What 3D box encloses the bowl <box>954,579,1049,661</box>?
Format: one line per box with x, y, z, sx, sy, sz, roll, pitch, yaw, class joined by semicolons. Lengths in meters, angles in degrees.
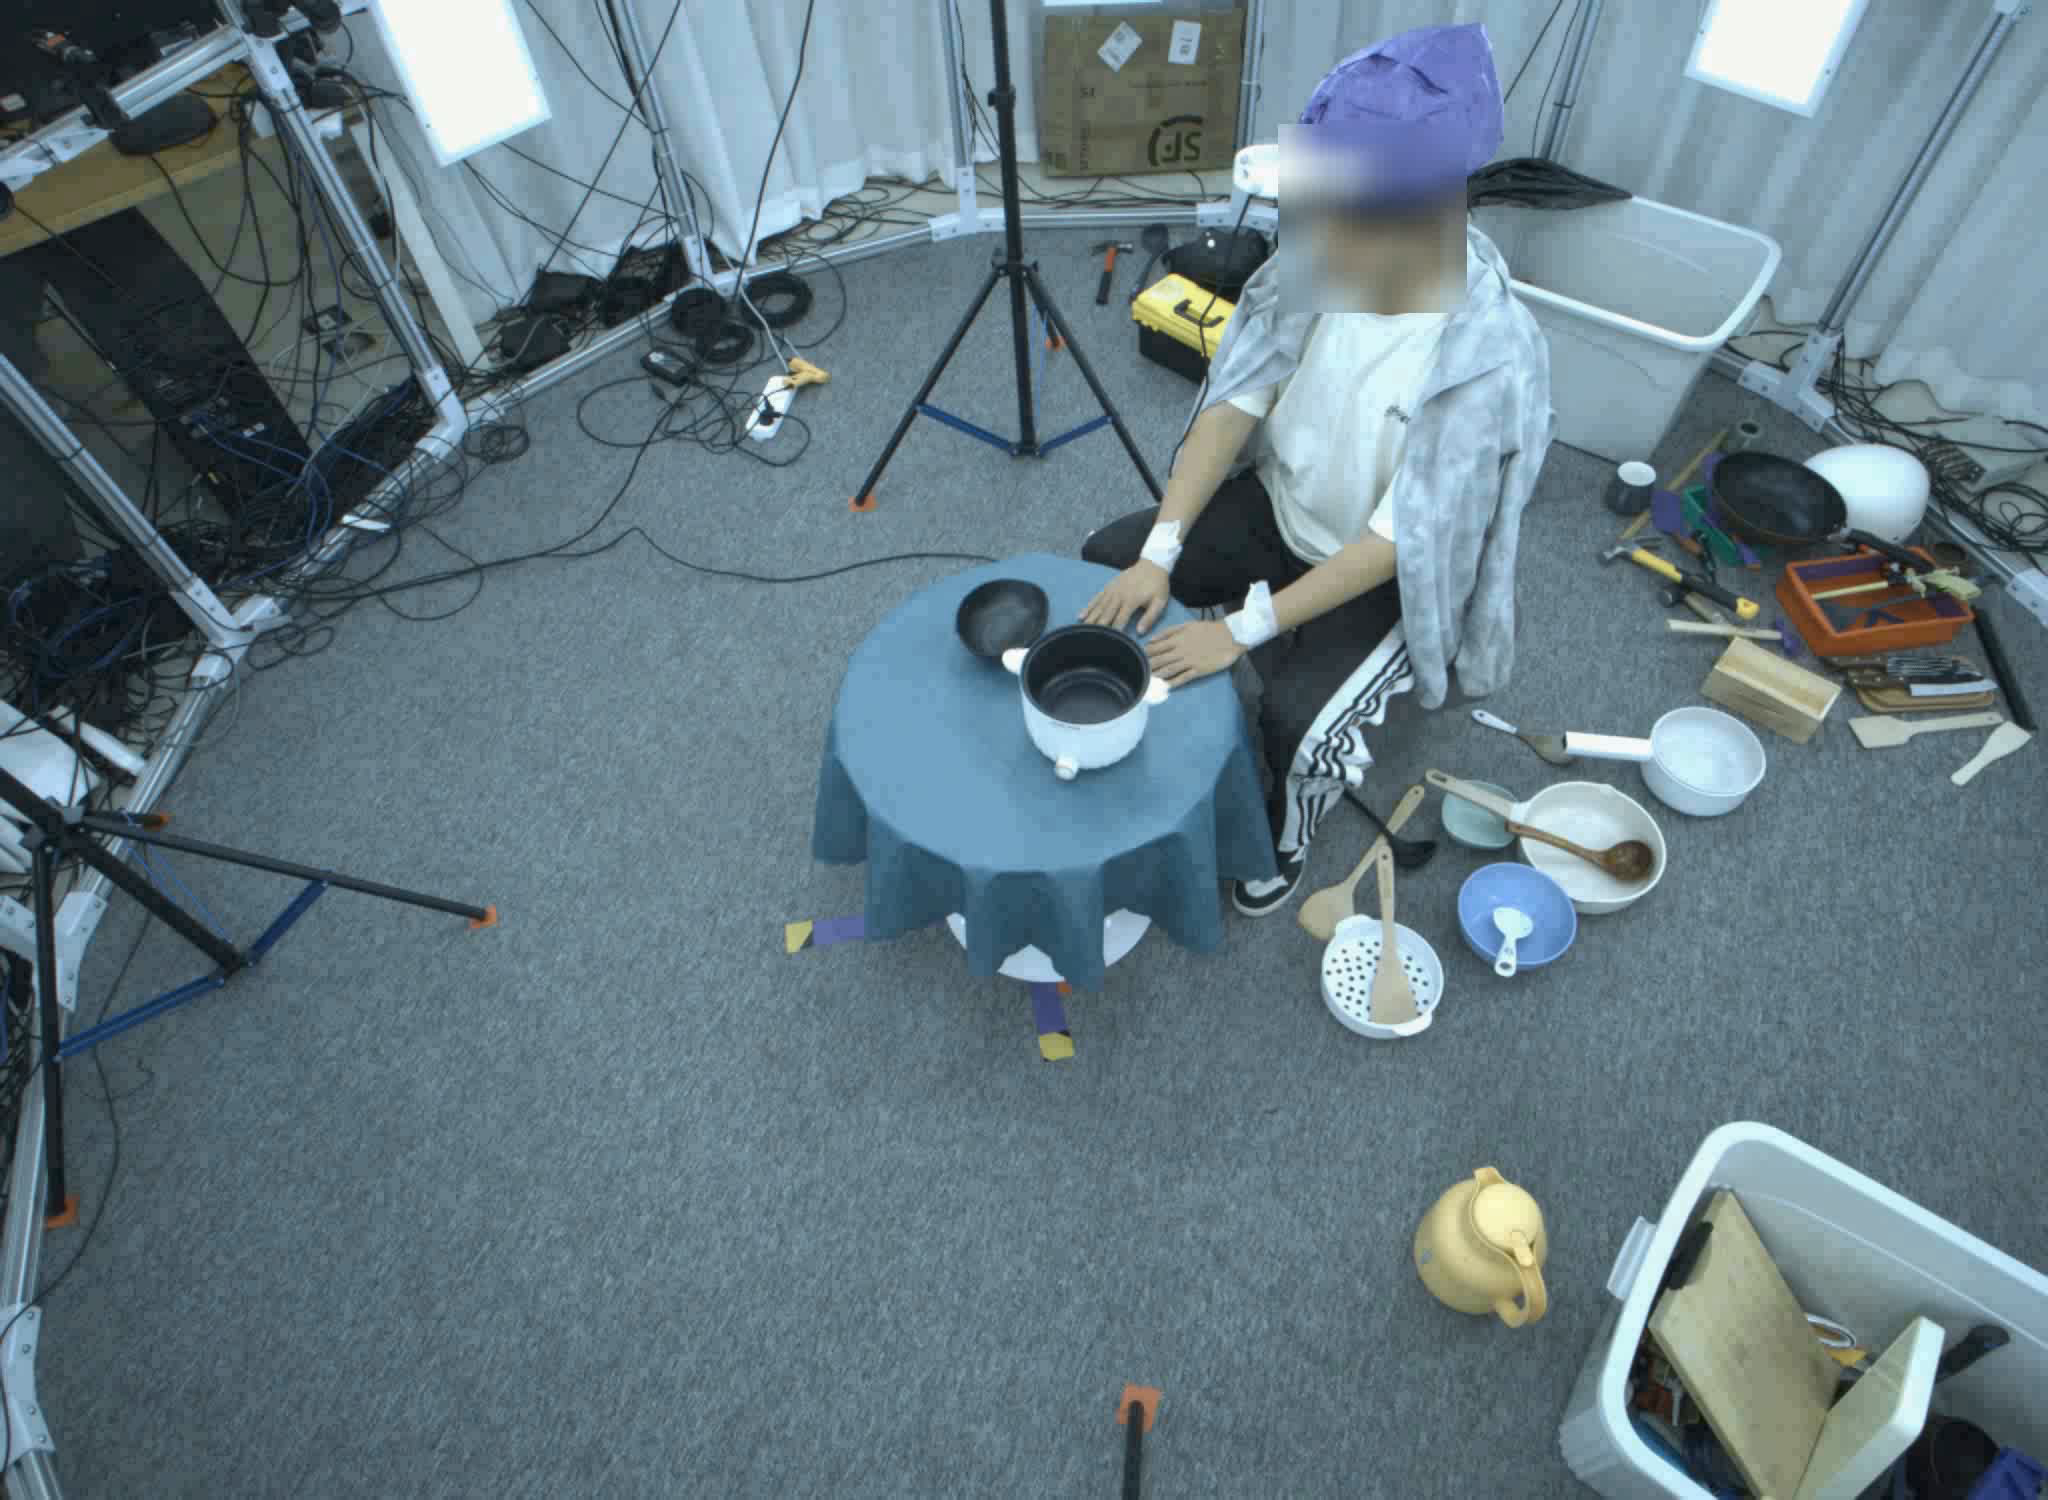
-0.032;-0.192;1.887;0.136;0.067;0.170;21;57;15;bowl

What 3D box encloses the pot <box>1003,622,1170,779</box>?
0.087;-0.065;1.748;0.238;0.144;0.190;13;53;12;pot
